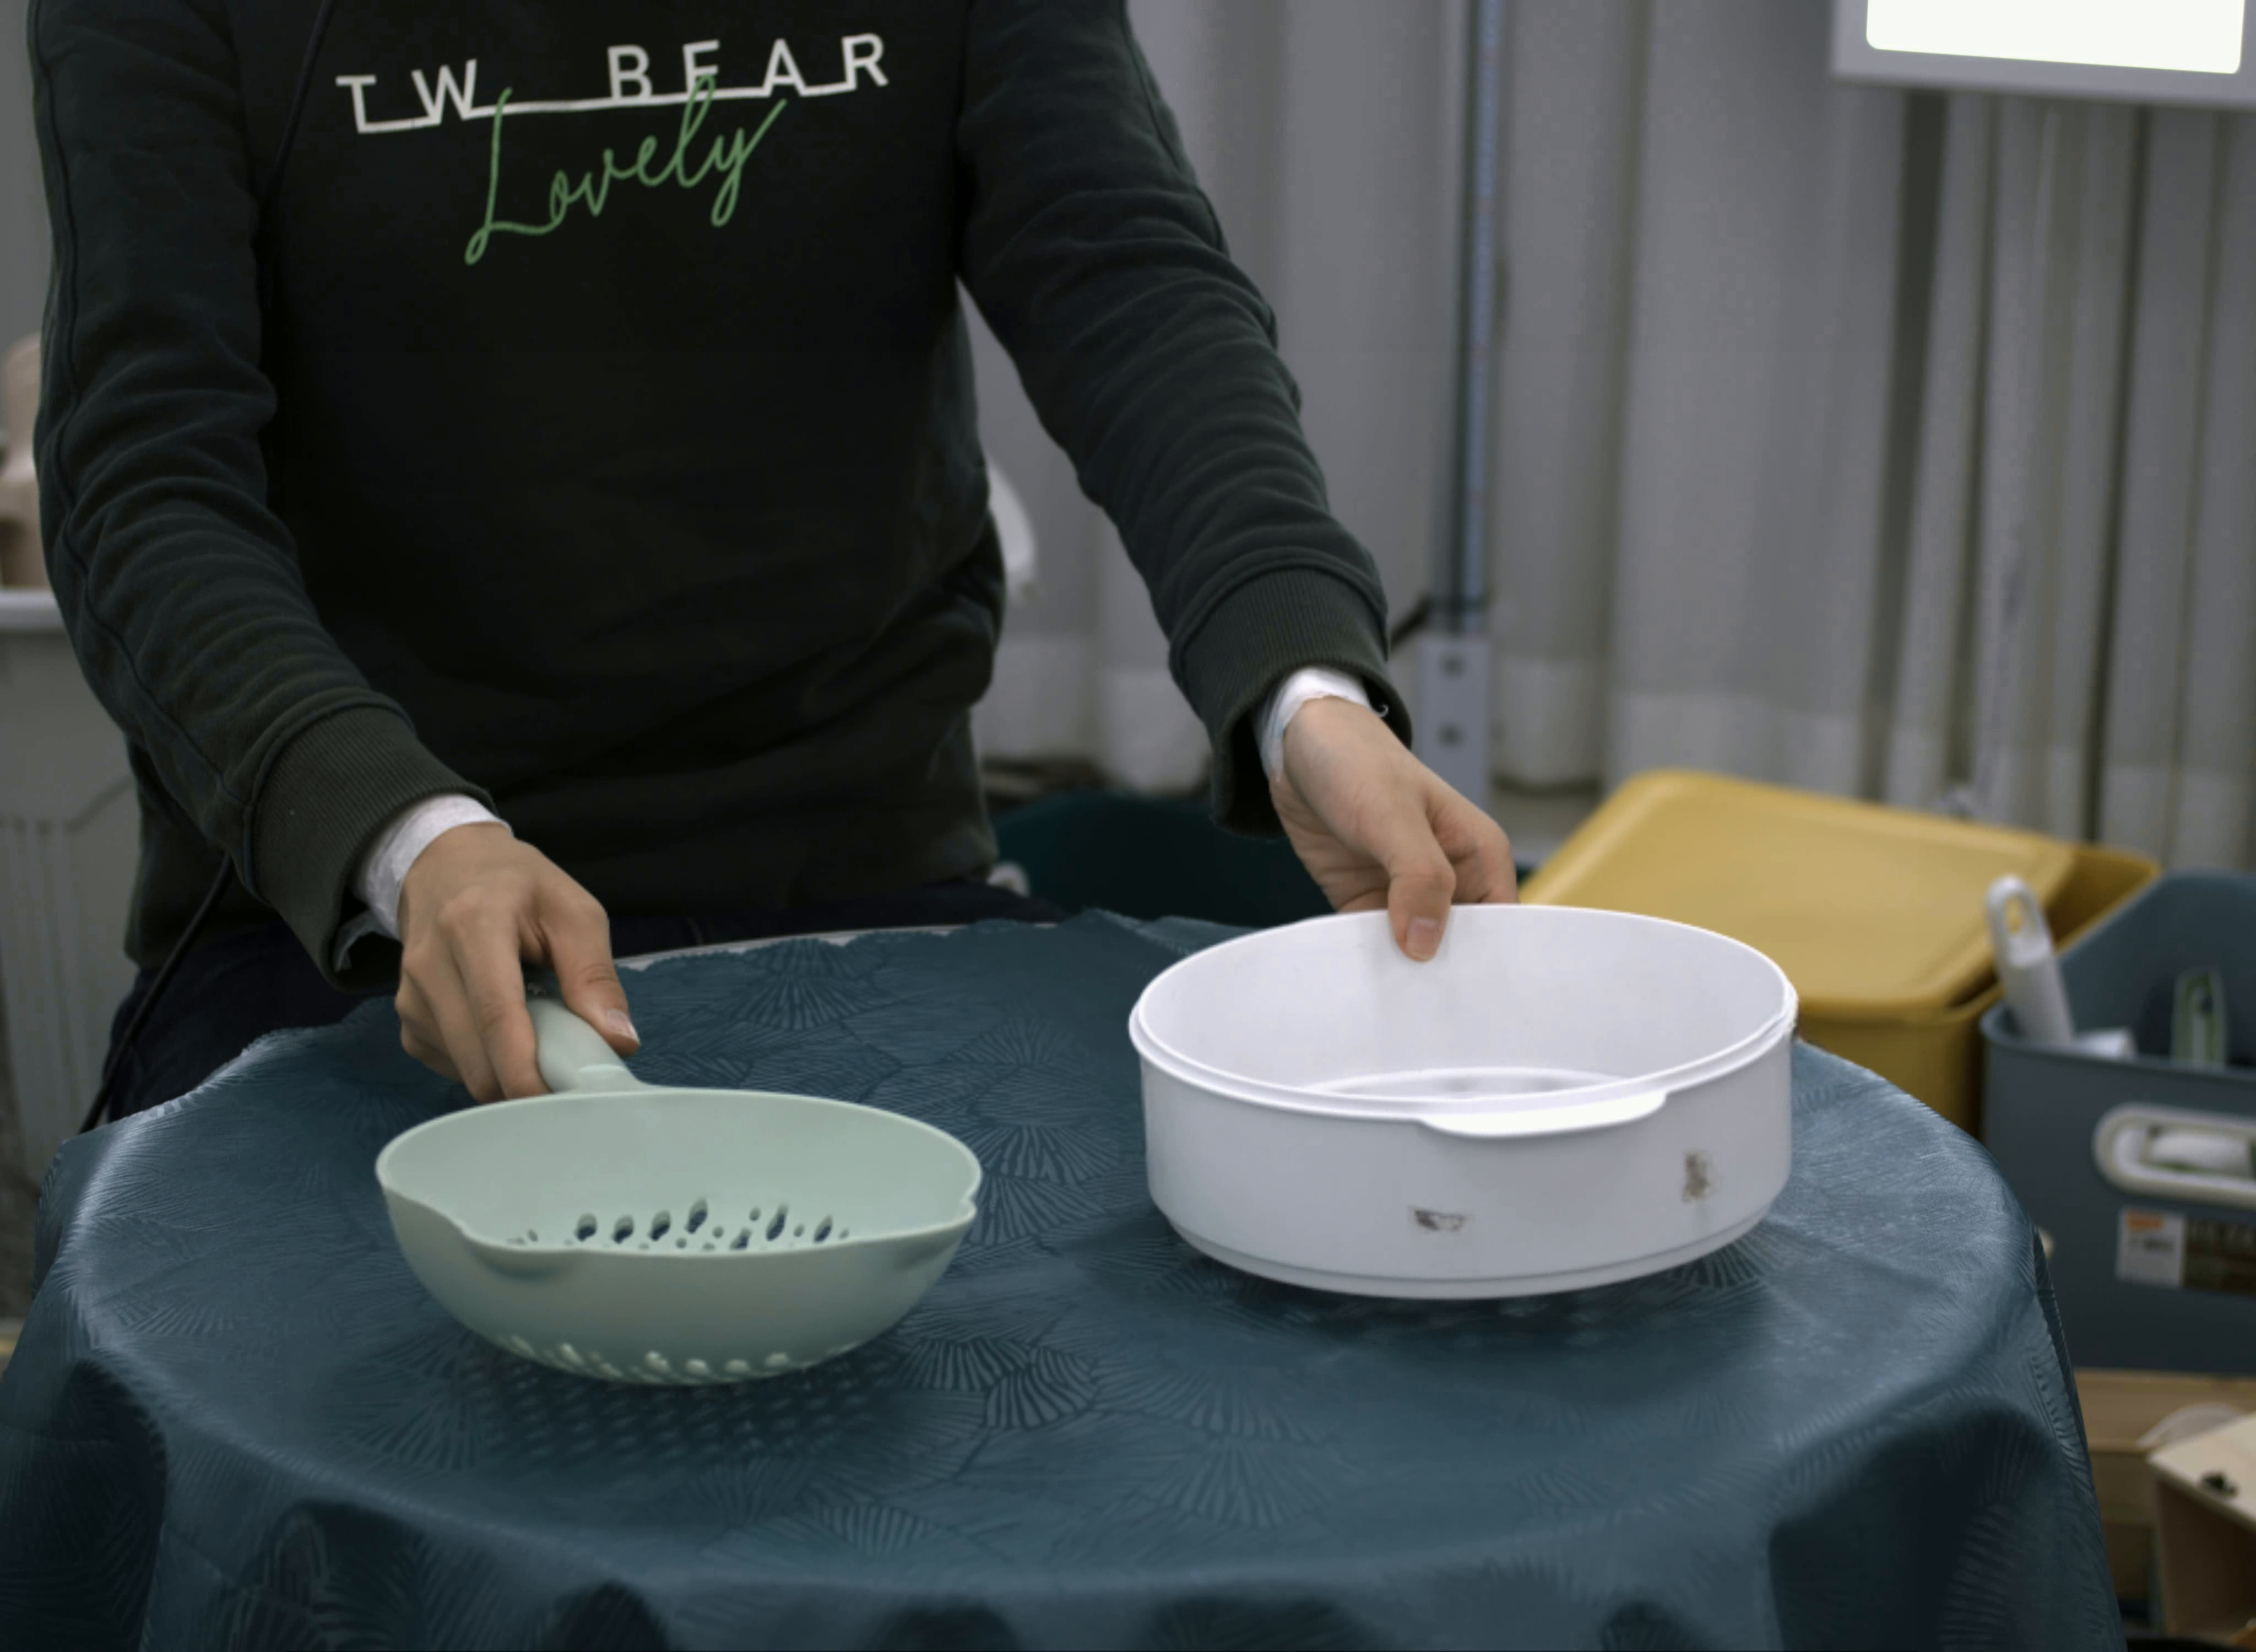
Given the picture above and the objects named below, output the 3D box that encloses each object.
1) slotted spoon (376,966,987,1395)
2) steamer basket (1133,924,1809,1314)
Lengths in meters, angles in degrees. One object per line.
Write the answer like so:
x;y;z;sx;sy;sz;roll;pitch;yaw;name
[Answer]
-0.152;0.088;1.556;0.170;0.076;0.355;-1;20;-17;slotted spoon
0.103;0.087;1.578;0.202;0.070;0.228;-5;15;-12;steamer basket
